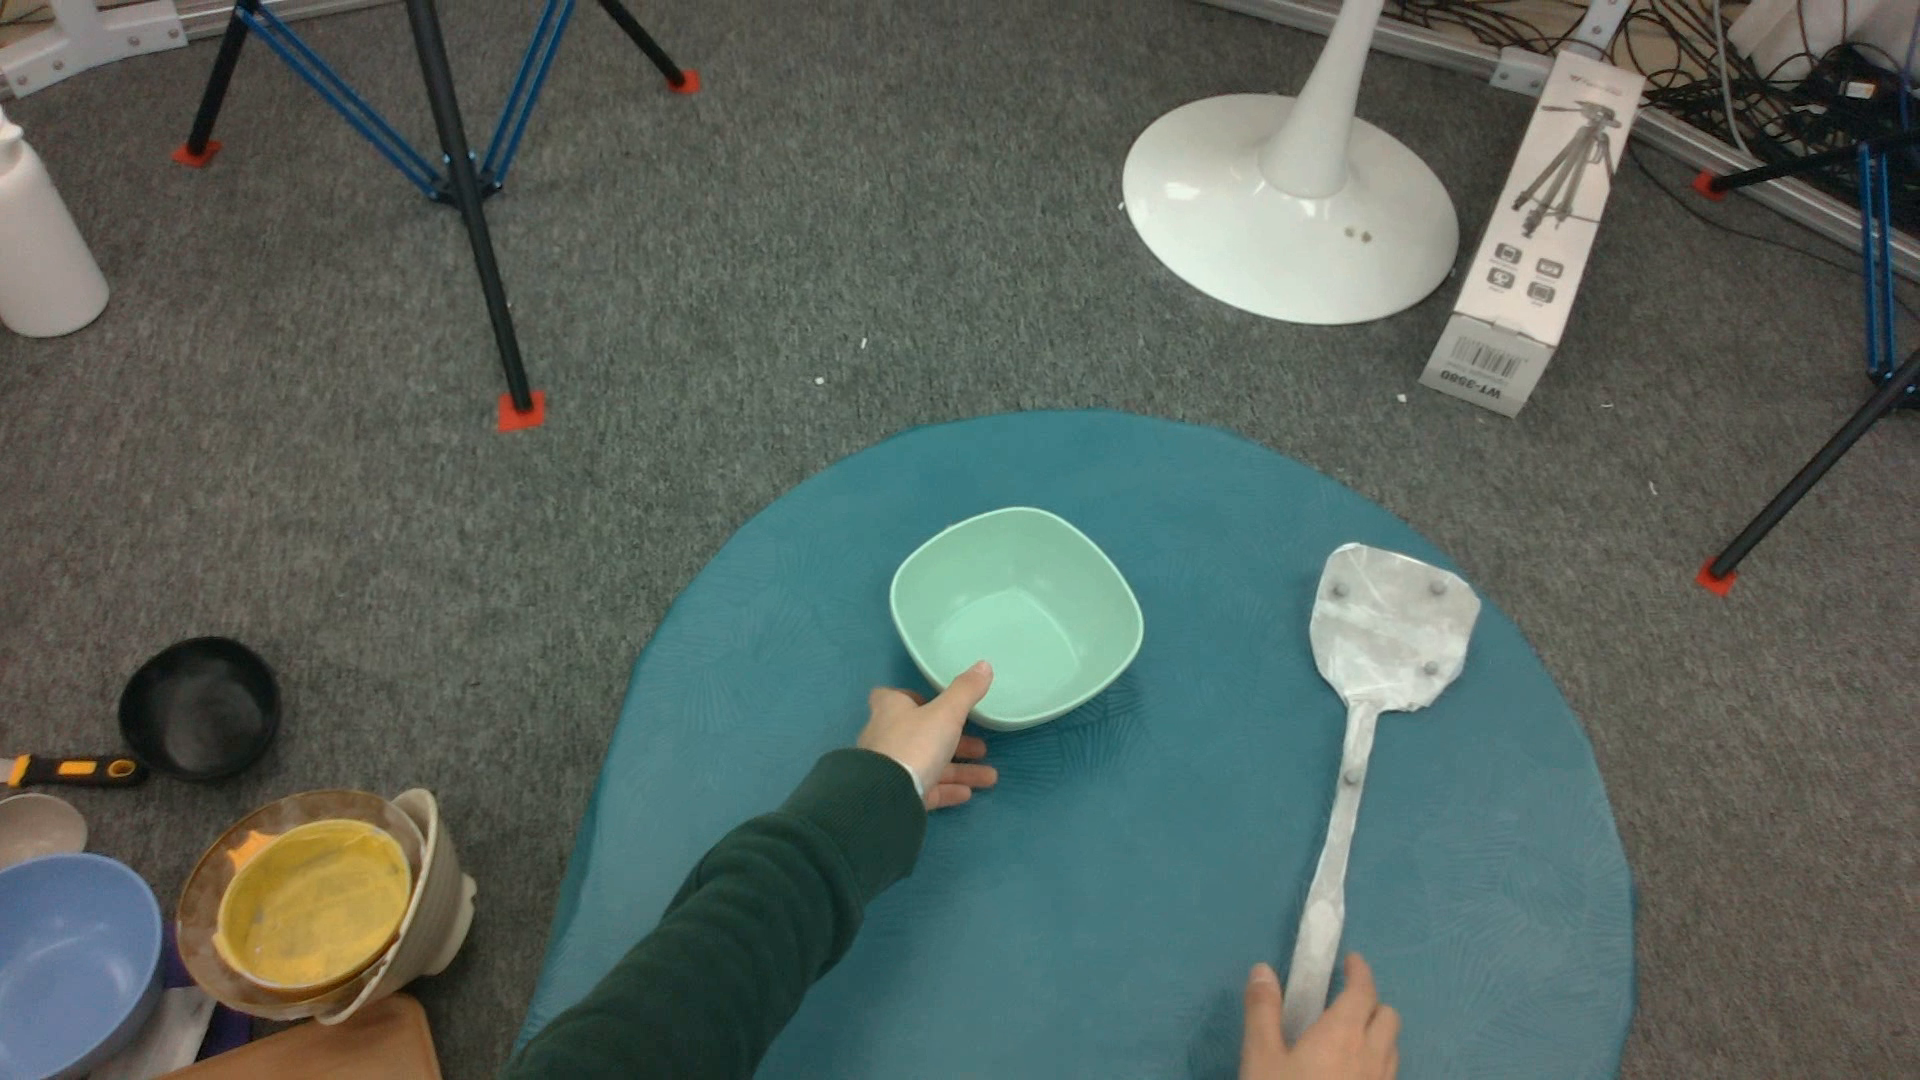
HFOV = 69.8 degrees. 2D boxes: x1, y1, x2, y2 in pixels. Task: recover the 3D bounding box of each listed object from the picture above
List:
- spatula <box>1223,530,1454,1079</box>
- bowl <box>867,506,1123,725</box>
[{"bbox_3d":[0.209,0.147,0.795,0.098,0.044,0.367,22,54,6],"label":"spatula"},{"bbox_3d":[0.018,0.054,0.826,0.151,0.058,0.152,4,51,-5],"label":"bowl"}]
